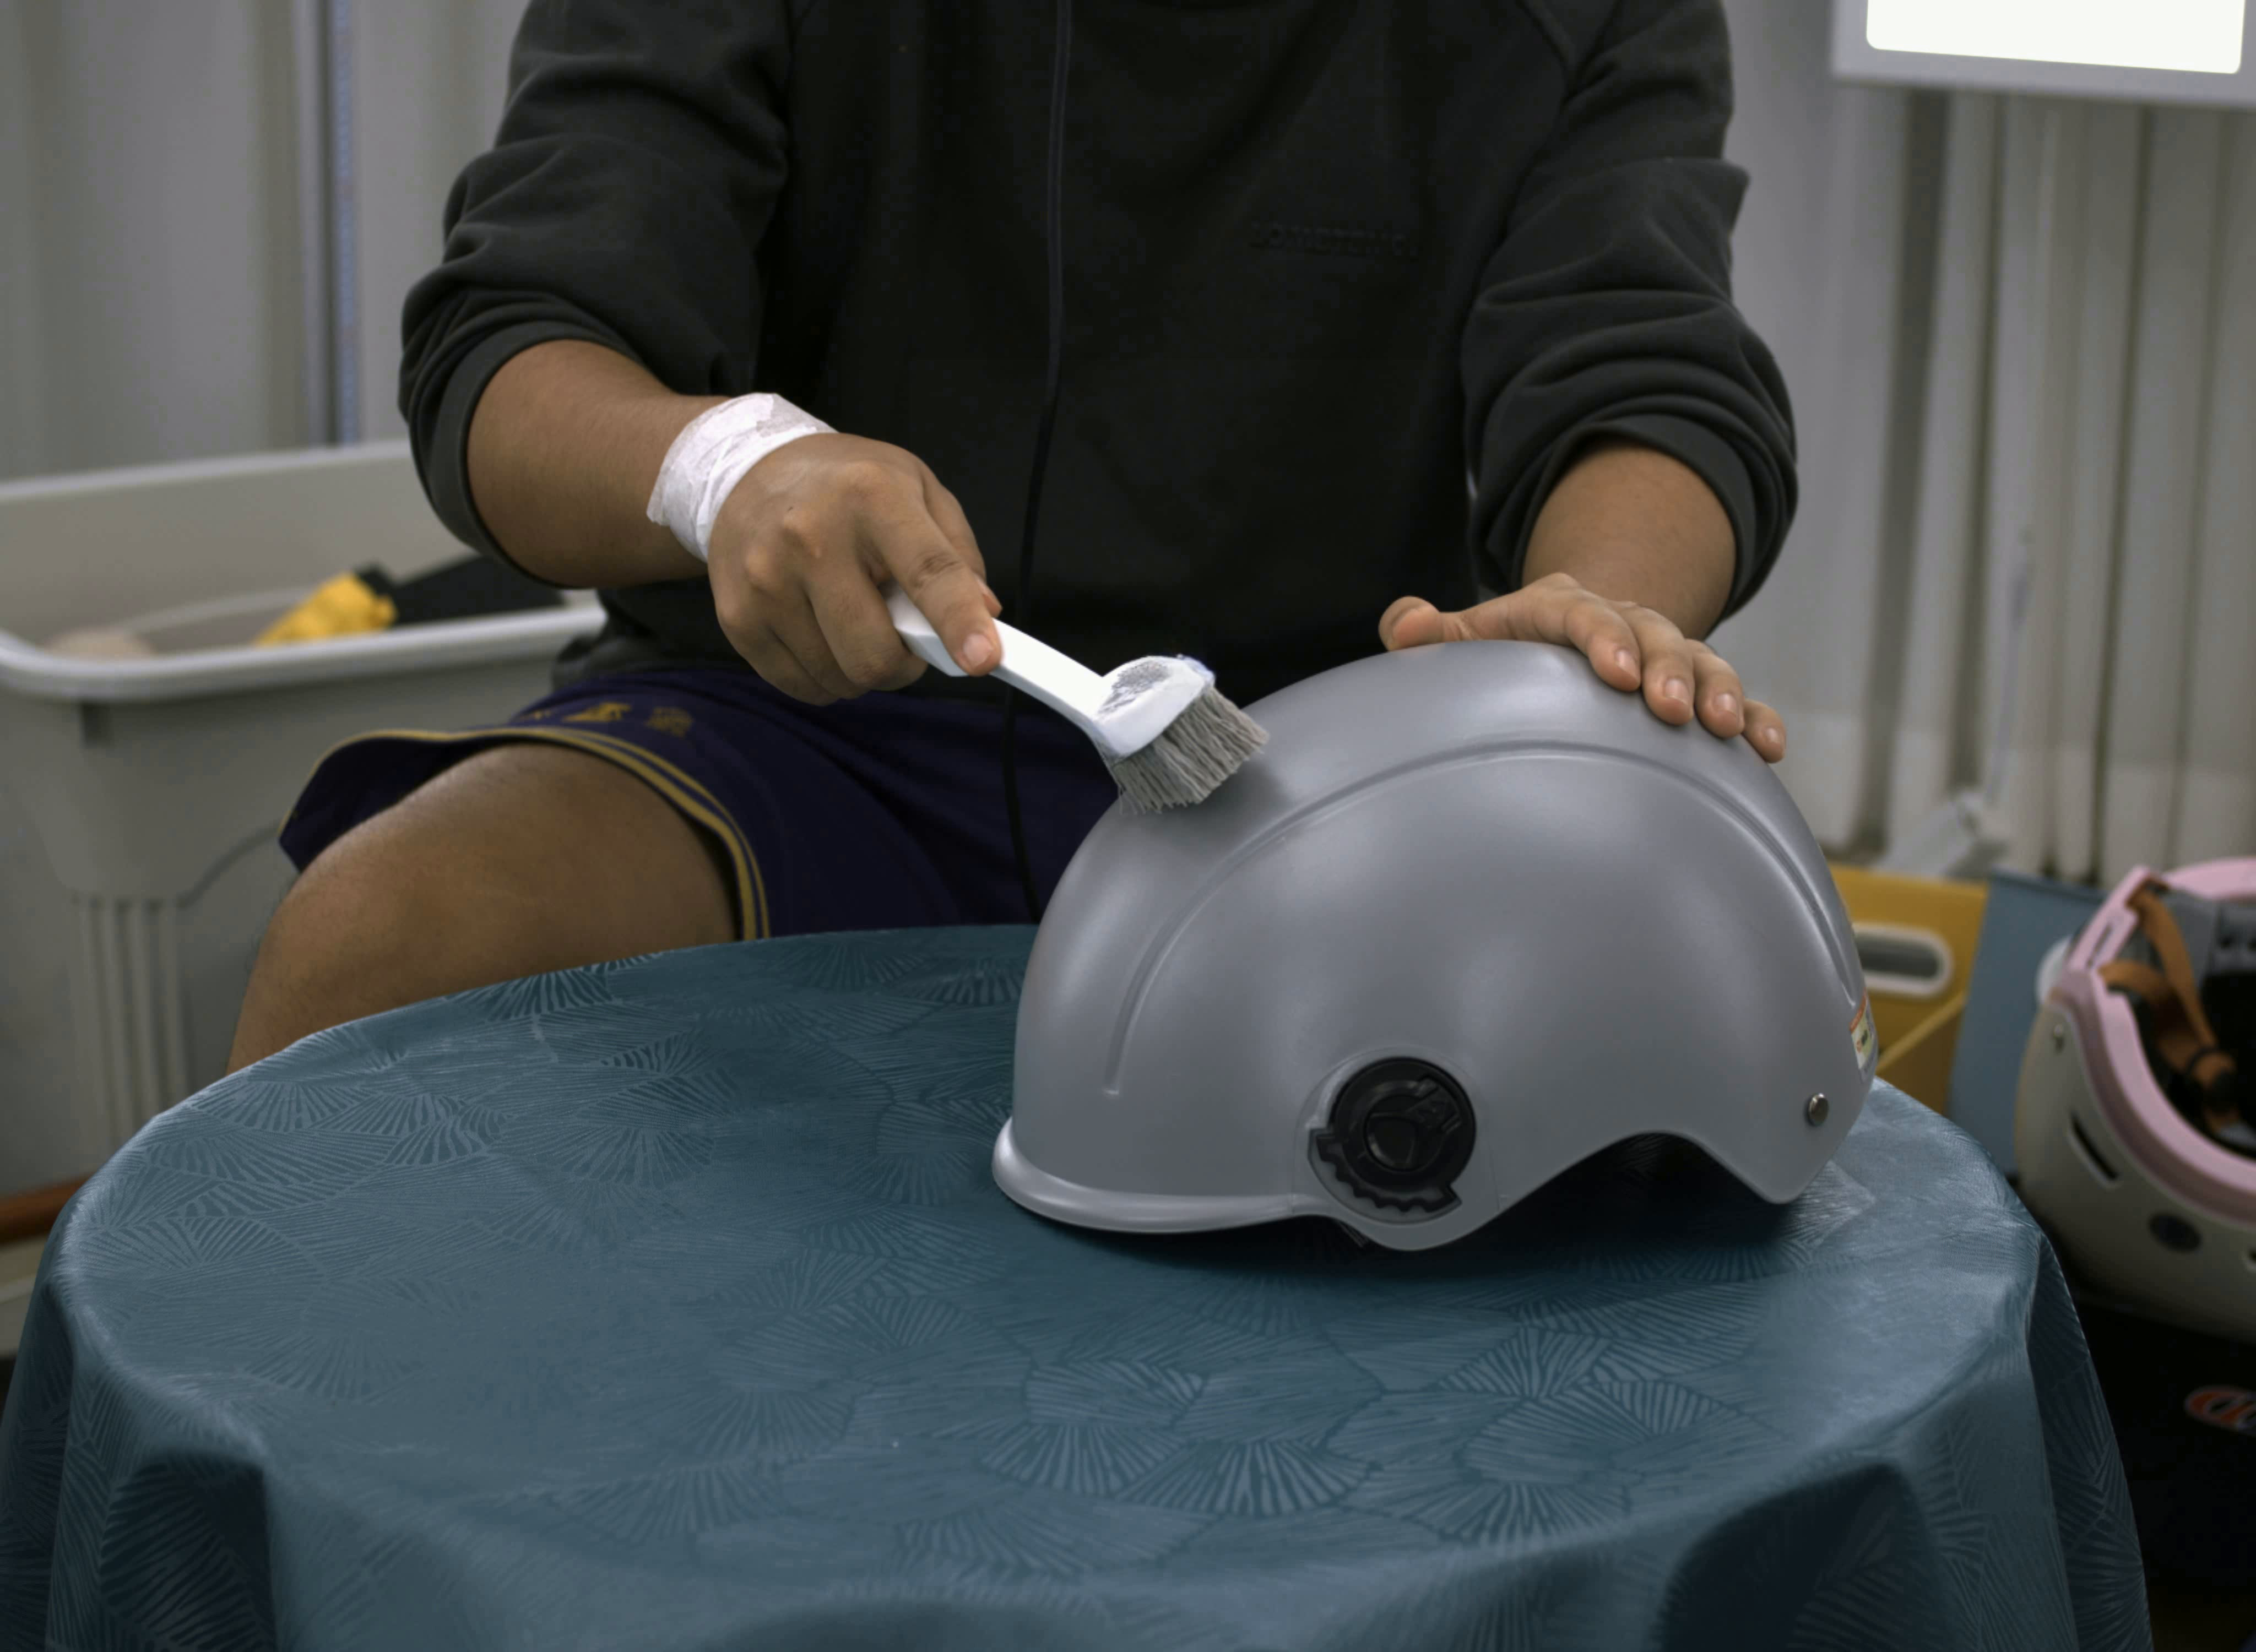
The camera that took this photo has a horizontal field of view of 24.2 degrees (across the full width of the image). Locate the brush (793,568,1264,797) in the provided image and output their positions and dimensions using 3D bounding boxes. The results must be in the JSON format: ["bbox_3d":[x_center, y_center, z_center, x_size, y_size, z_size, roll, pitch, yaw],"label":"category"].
[{"bbox_3d":[-0.033,-0.045,1.645,0.034,0.051,0.241,-44,28,-17],"label":"brush"}]

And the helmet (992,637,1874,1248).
[{"bbox_3d":[0.092,0.028,1.630,0.276,0.170,0.230,-4,14,-10],"label":"helmet"}]
